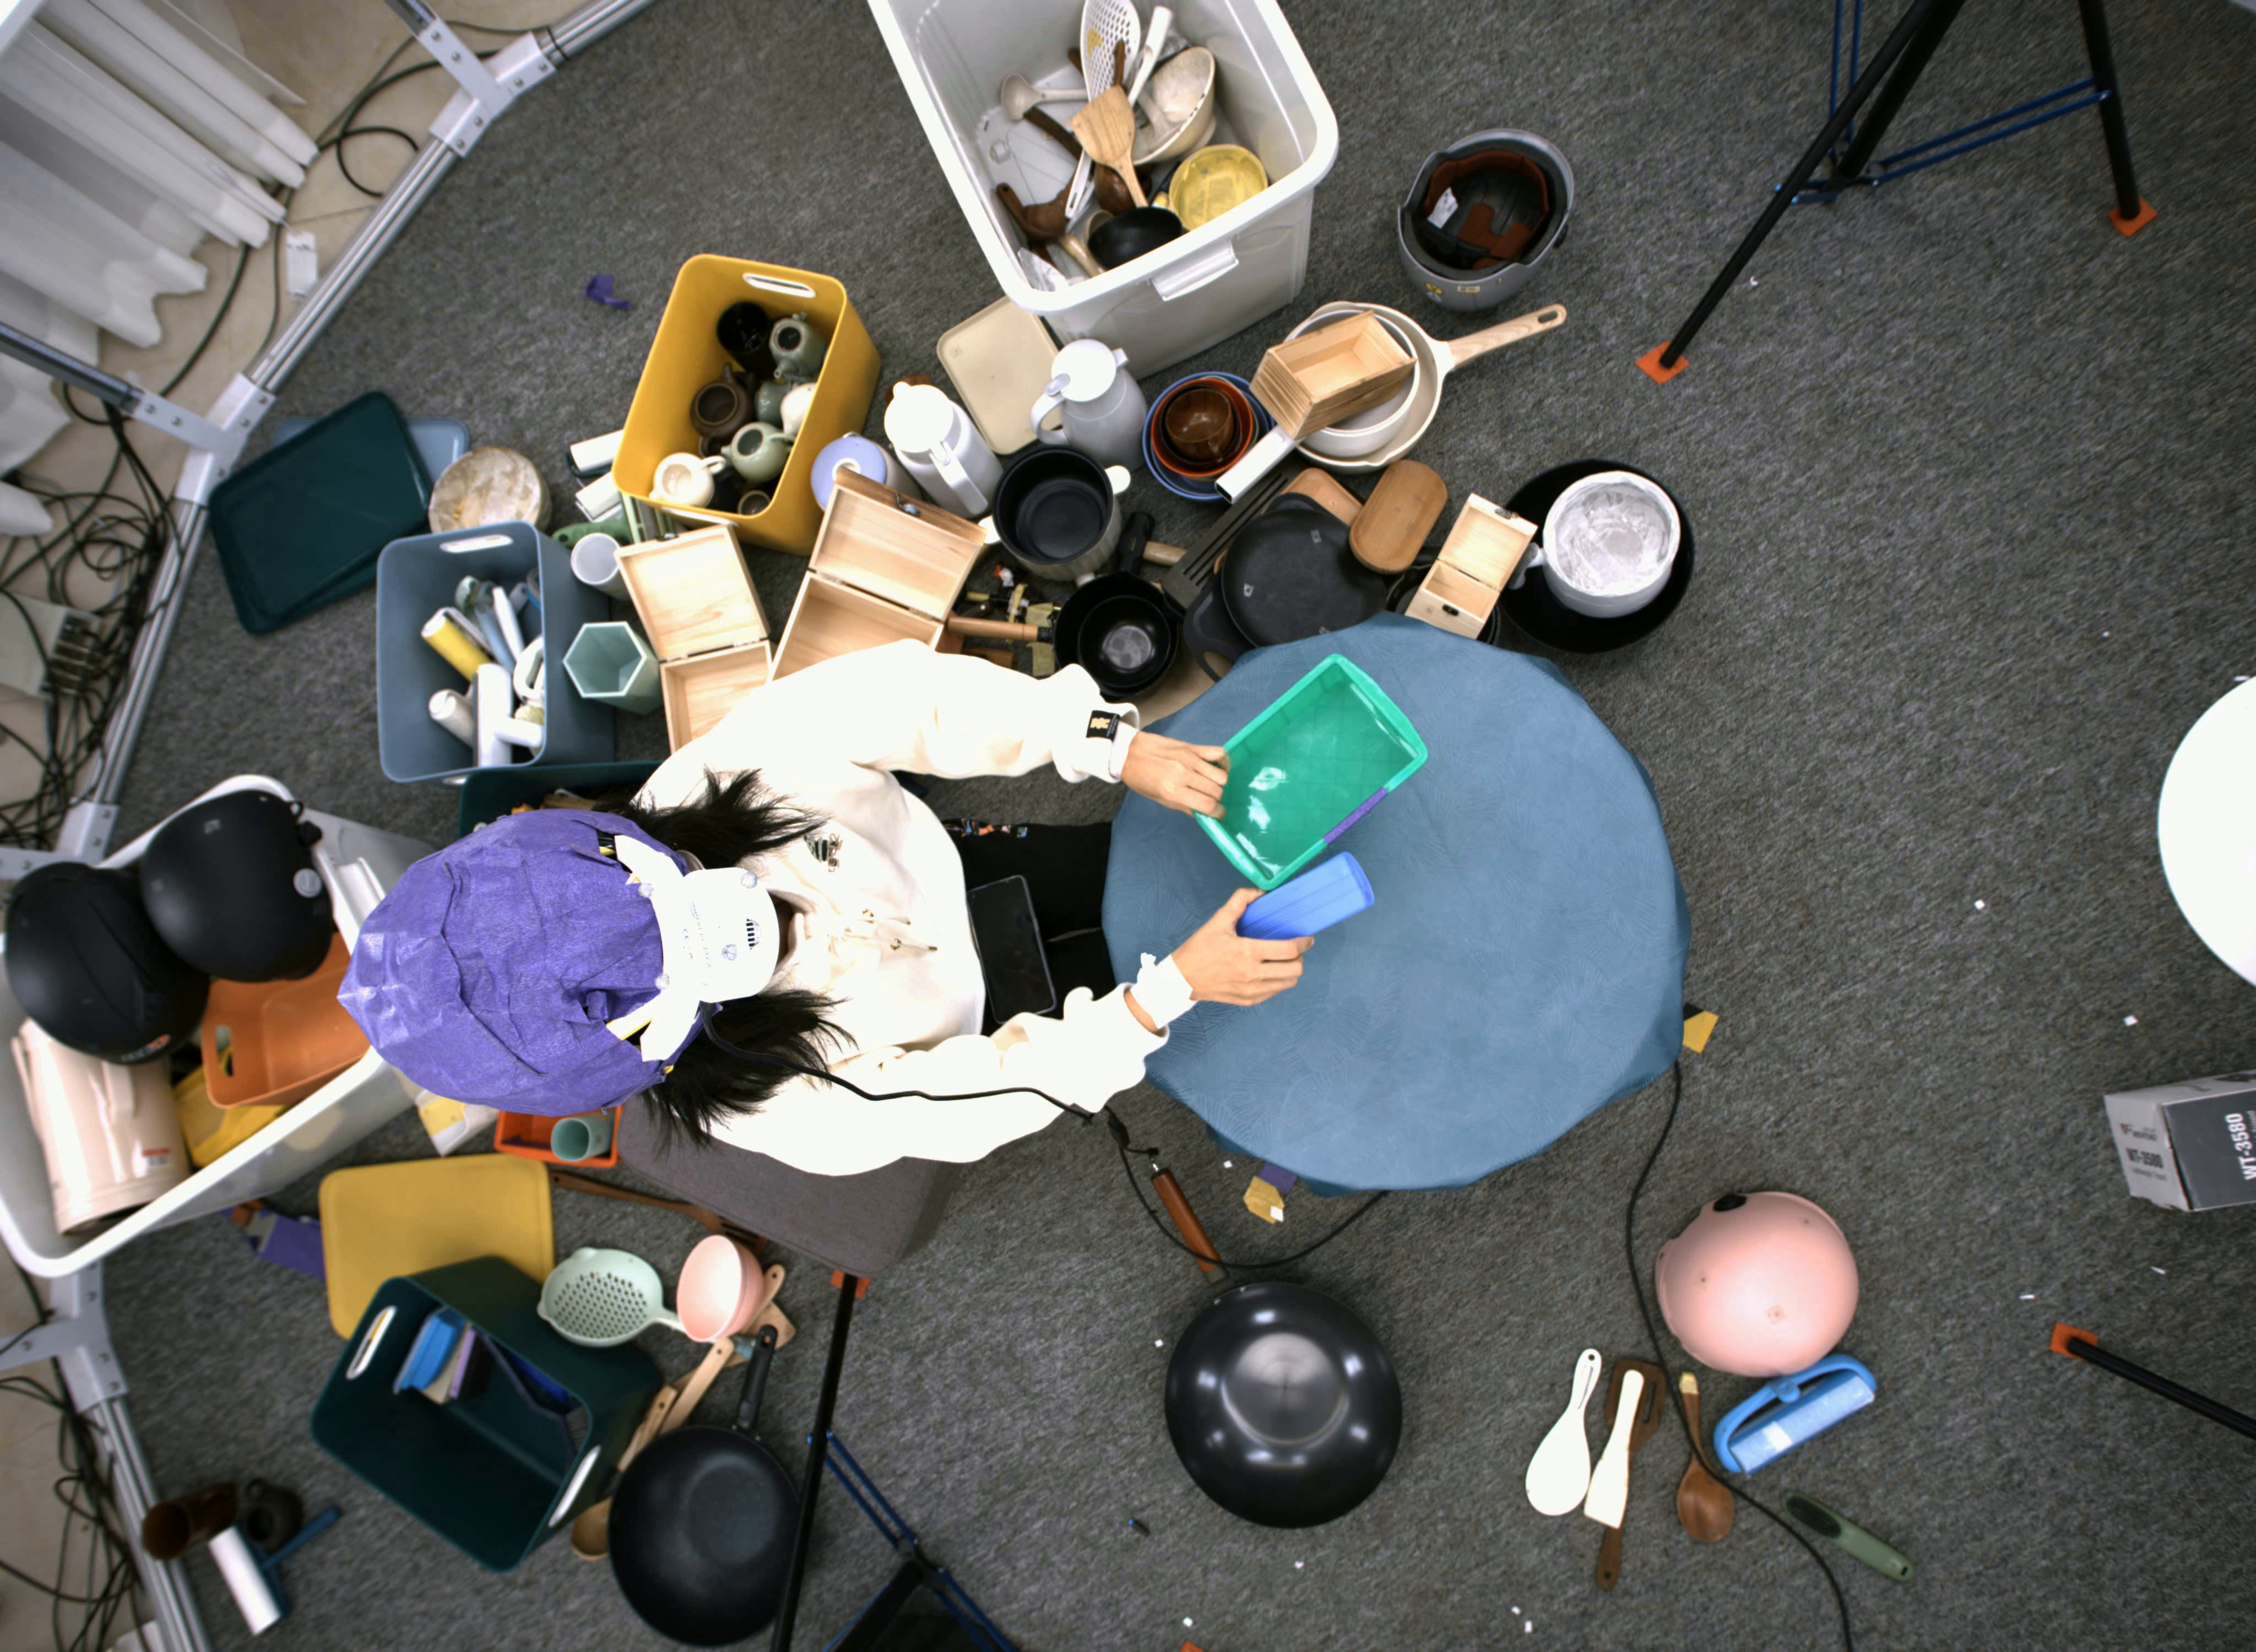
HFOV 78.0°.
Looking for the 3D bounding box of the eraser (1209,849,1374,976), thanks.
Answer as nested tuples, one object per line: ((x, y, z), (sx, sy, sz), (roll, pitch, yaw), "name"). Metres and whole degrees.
((0.147, 0.082, 1.282), (0.165, 0.047, 0.053), (-34, 82, 28), "eraser")

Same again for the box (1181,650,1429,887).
((0.168, -0.050, 1.303), (0.211, 0.065, 0.137), (-41, 76, 4), "box")
